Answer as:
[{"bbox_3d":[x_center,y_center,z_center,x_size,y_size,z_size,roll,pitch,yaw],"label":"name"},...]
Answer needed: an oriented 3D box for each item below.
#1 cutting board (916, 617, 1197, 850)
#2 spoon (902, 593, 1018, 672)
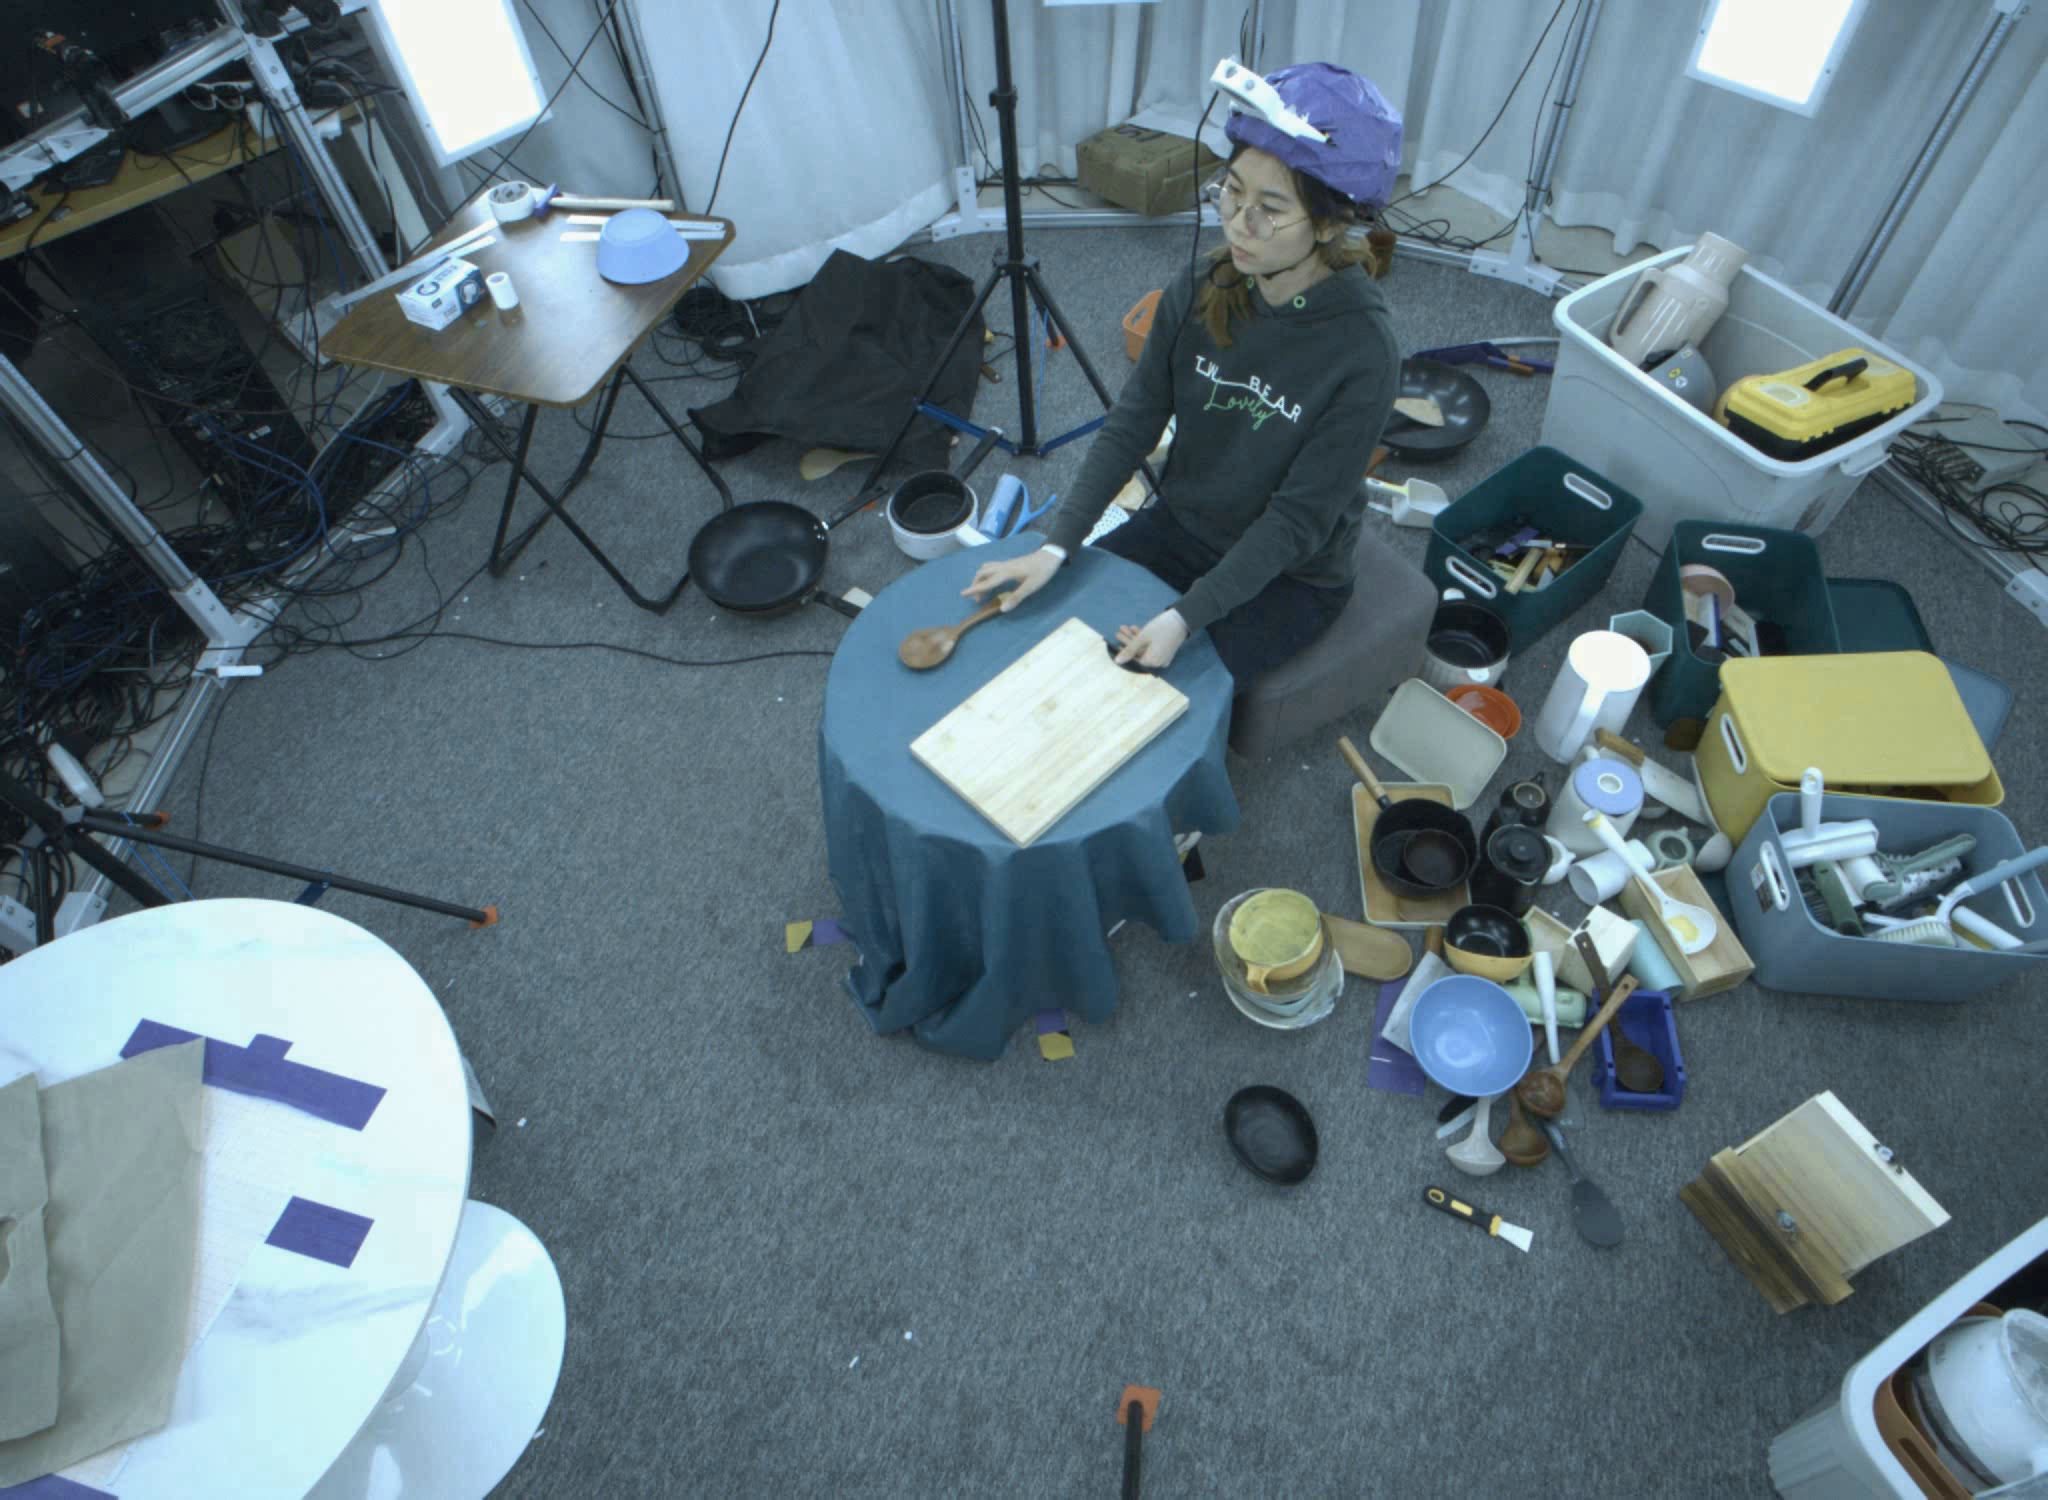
[{"bbox_3d":[0.047,-0.034,1.806,0.246,0.024,0.351,39,66,24],"label":"cutting board"},{"bbox_3d":[-0.097,-0.185,1.920,0.217,0.017,0.074,-35,60,-20],"label":"spoon"}]
